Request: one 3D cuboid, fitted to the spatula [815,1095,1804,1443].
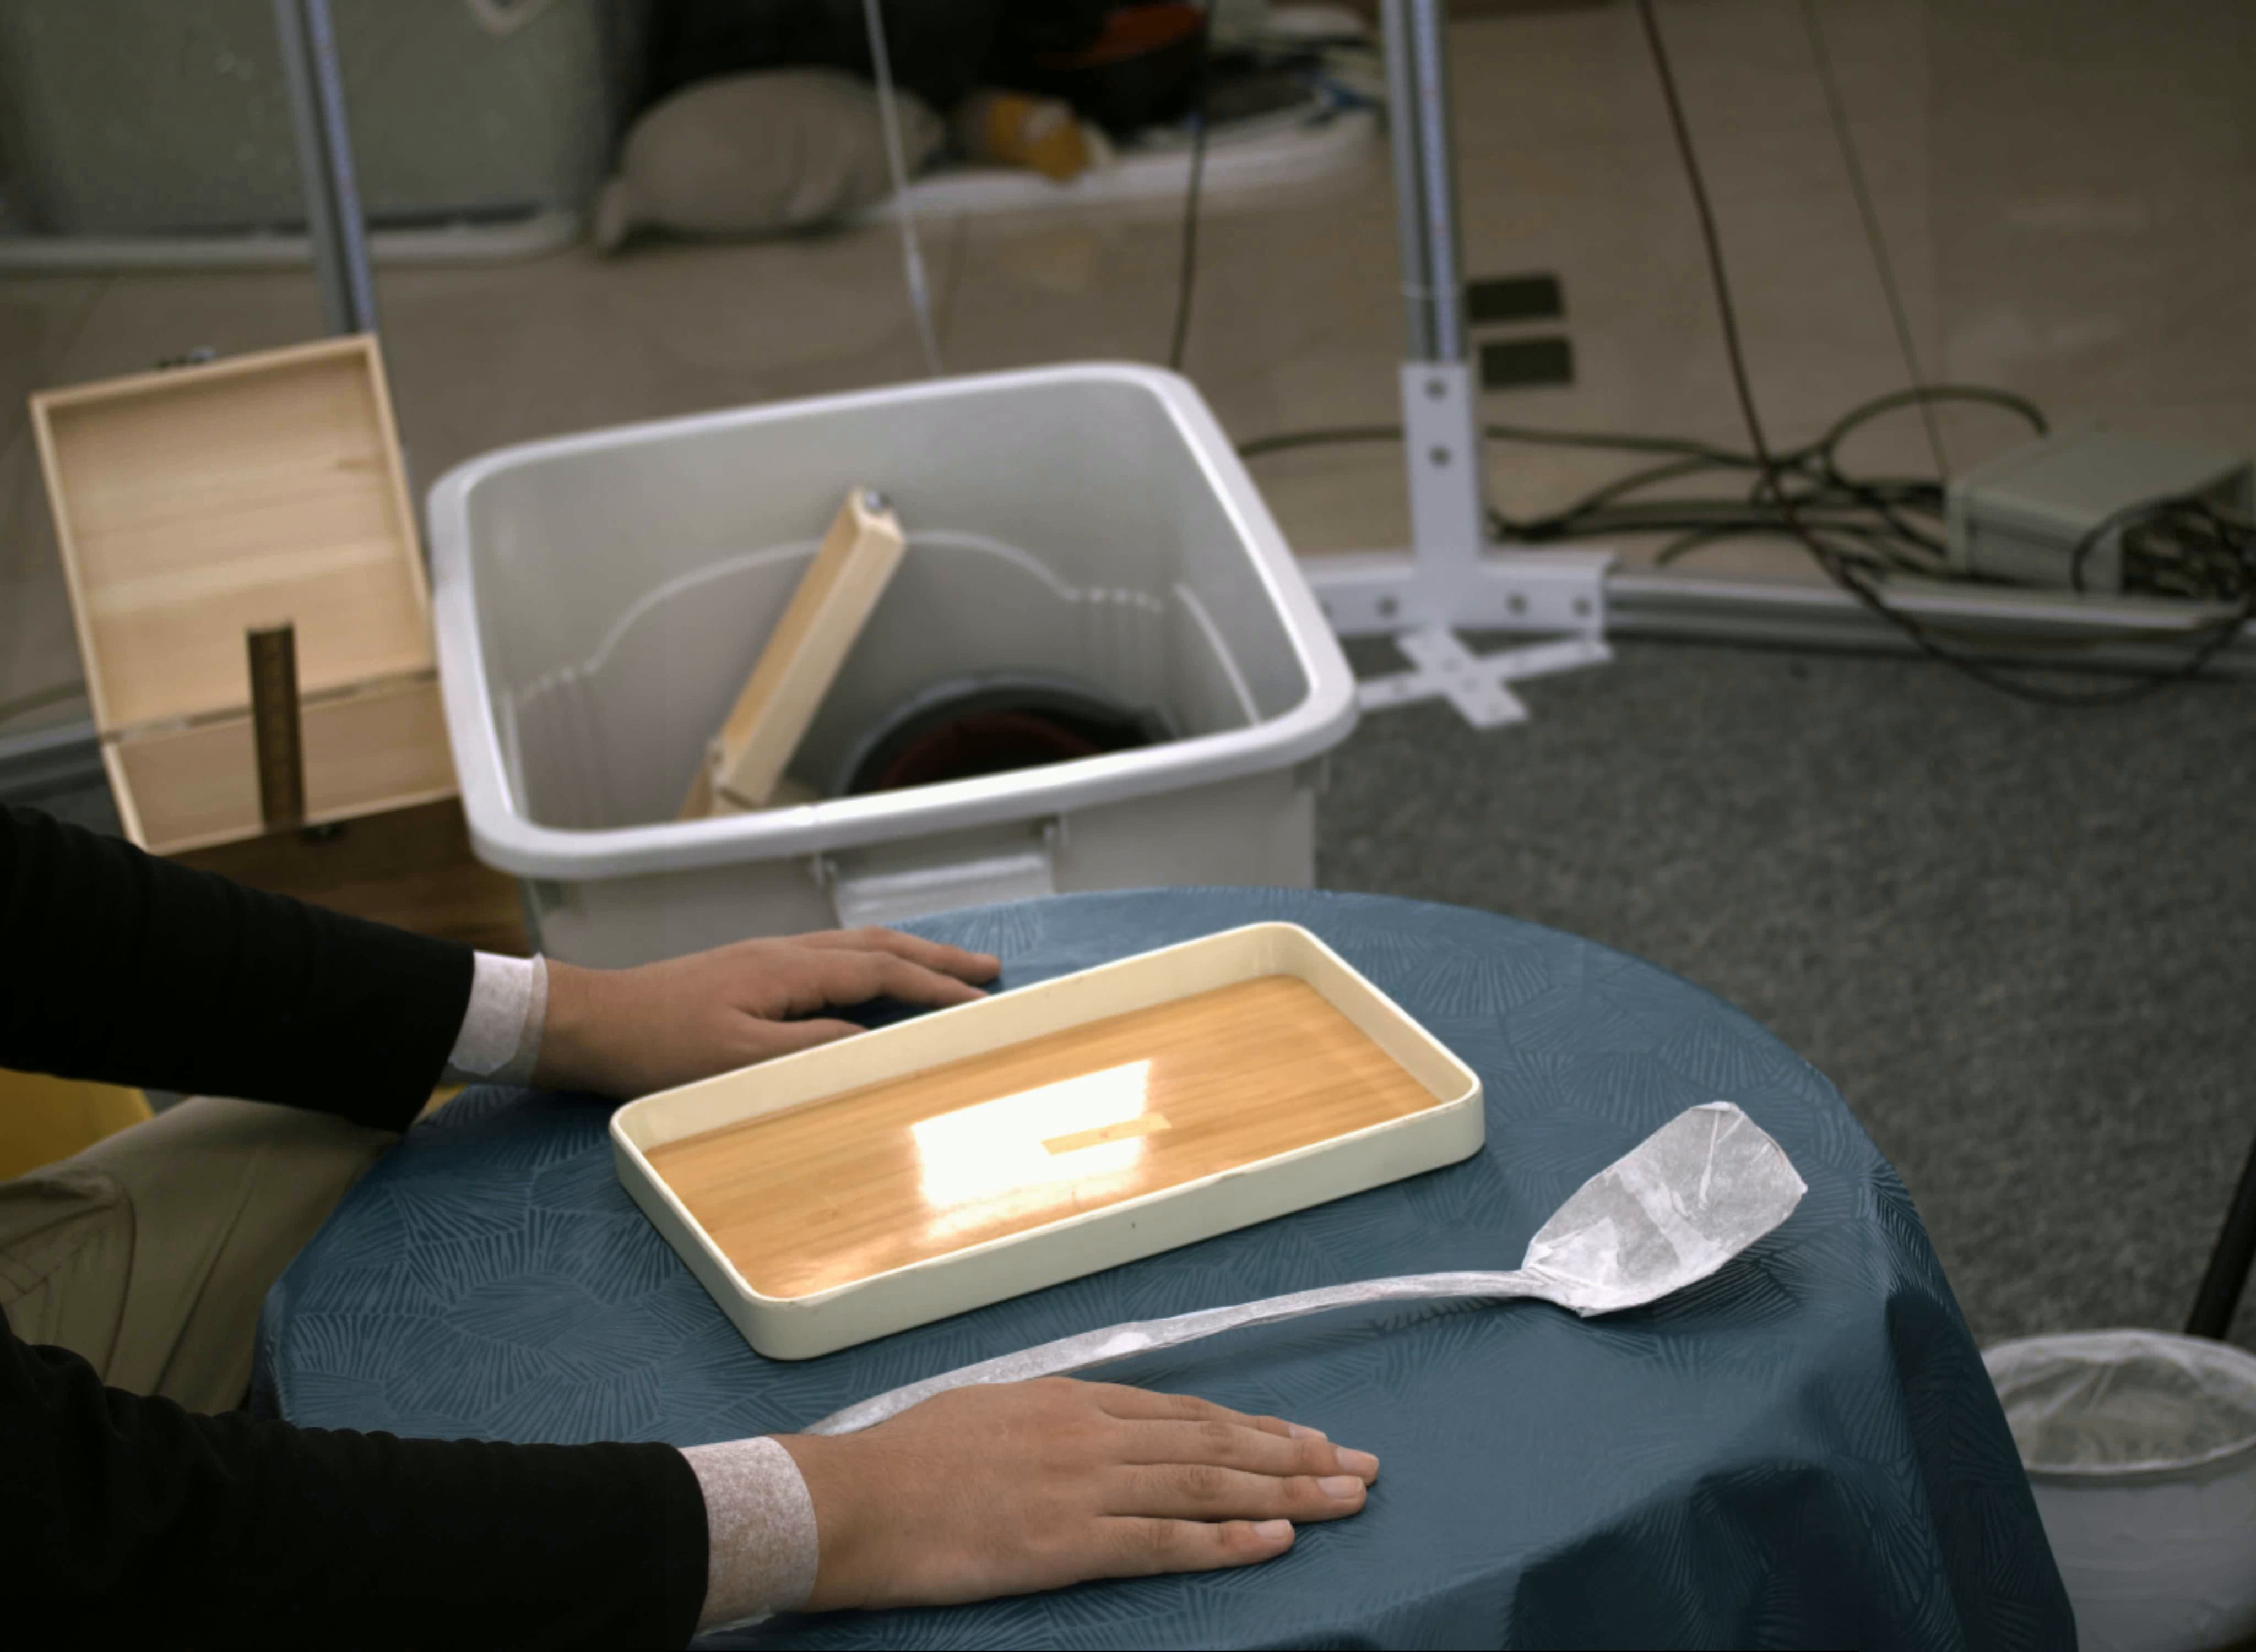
[{"bbox_3d":[0.064,0.166,2.028,0.364,0.045,0.097,-11,26,-10],"label":"spatula"}]

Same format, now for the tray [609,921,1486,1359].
[{"bbox_3d":[-0.032,0.116,2.172,0.299,0.028,0.189,-15,26,-18],"label":"tray"}]
